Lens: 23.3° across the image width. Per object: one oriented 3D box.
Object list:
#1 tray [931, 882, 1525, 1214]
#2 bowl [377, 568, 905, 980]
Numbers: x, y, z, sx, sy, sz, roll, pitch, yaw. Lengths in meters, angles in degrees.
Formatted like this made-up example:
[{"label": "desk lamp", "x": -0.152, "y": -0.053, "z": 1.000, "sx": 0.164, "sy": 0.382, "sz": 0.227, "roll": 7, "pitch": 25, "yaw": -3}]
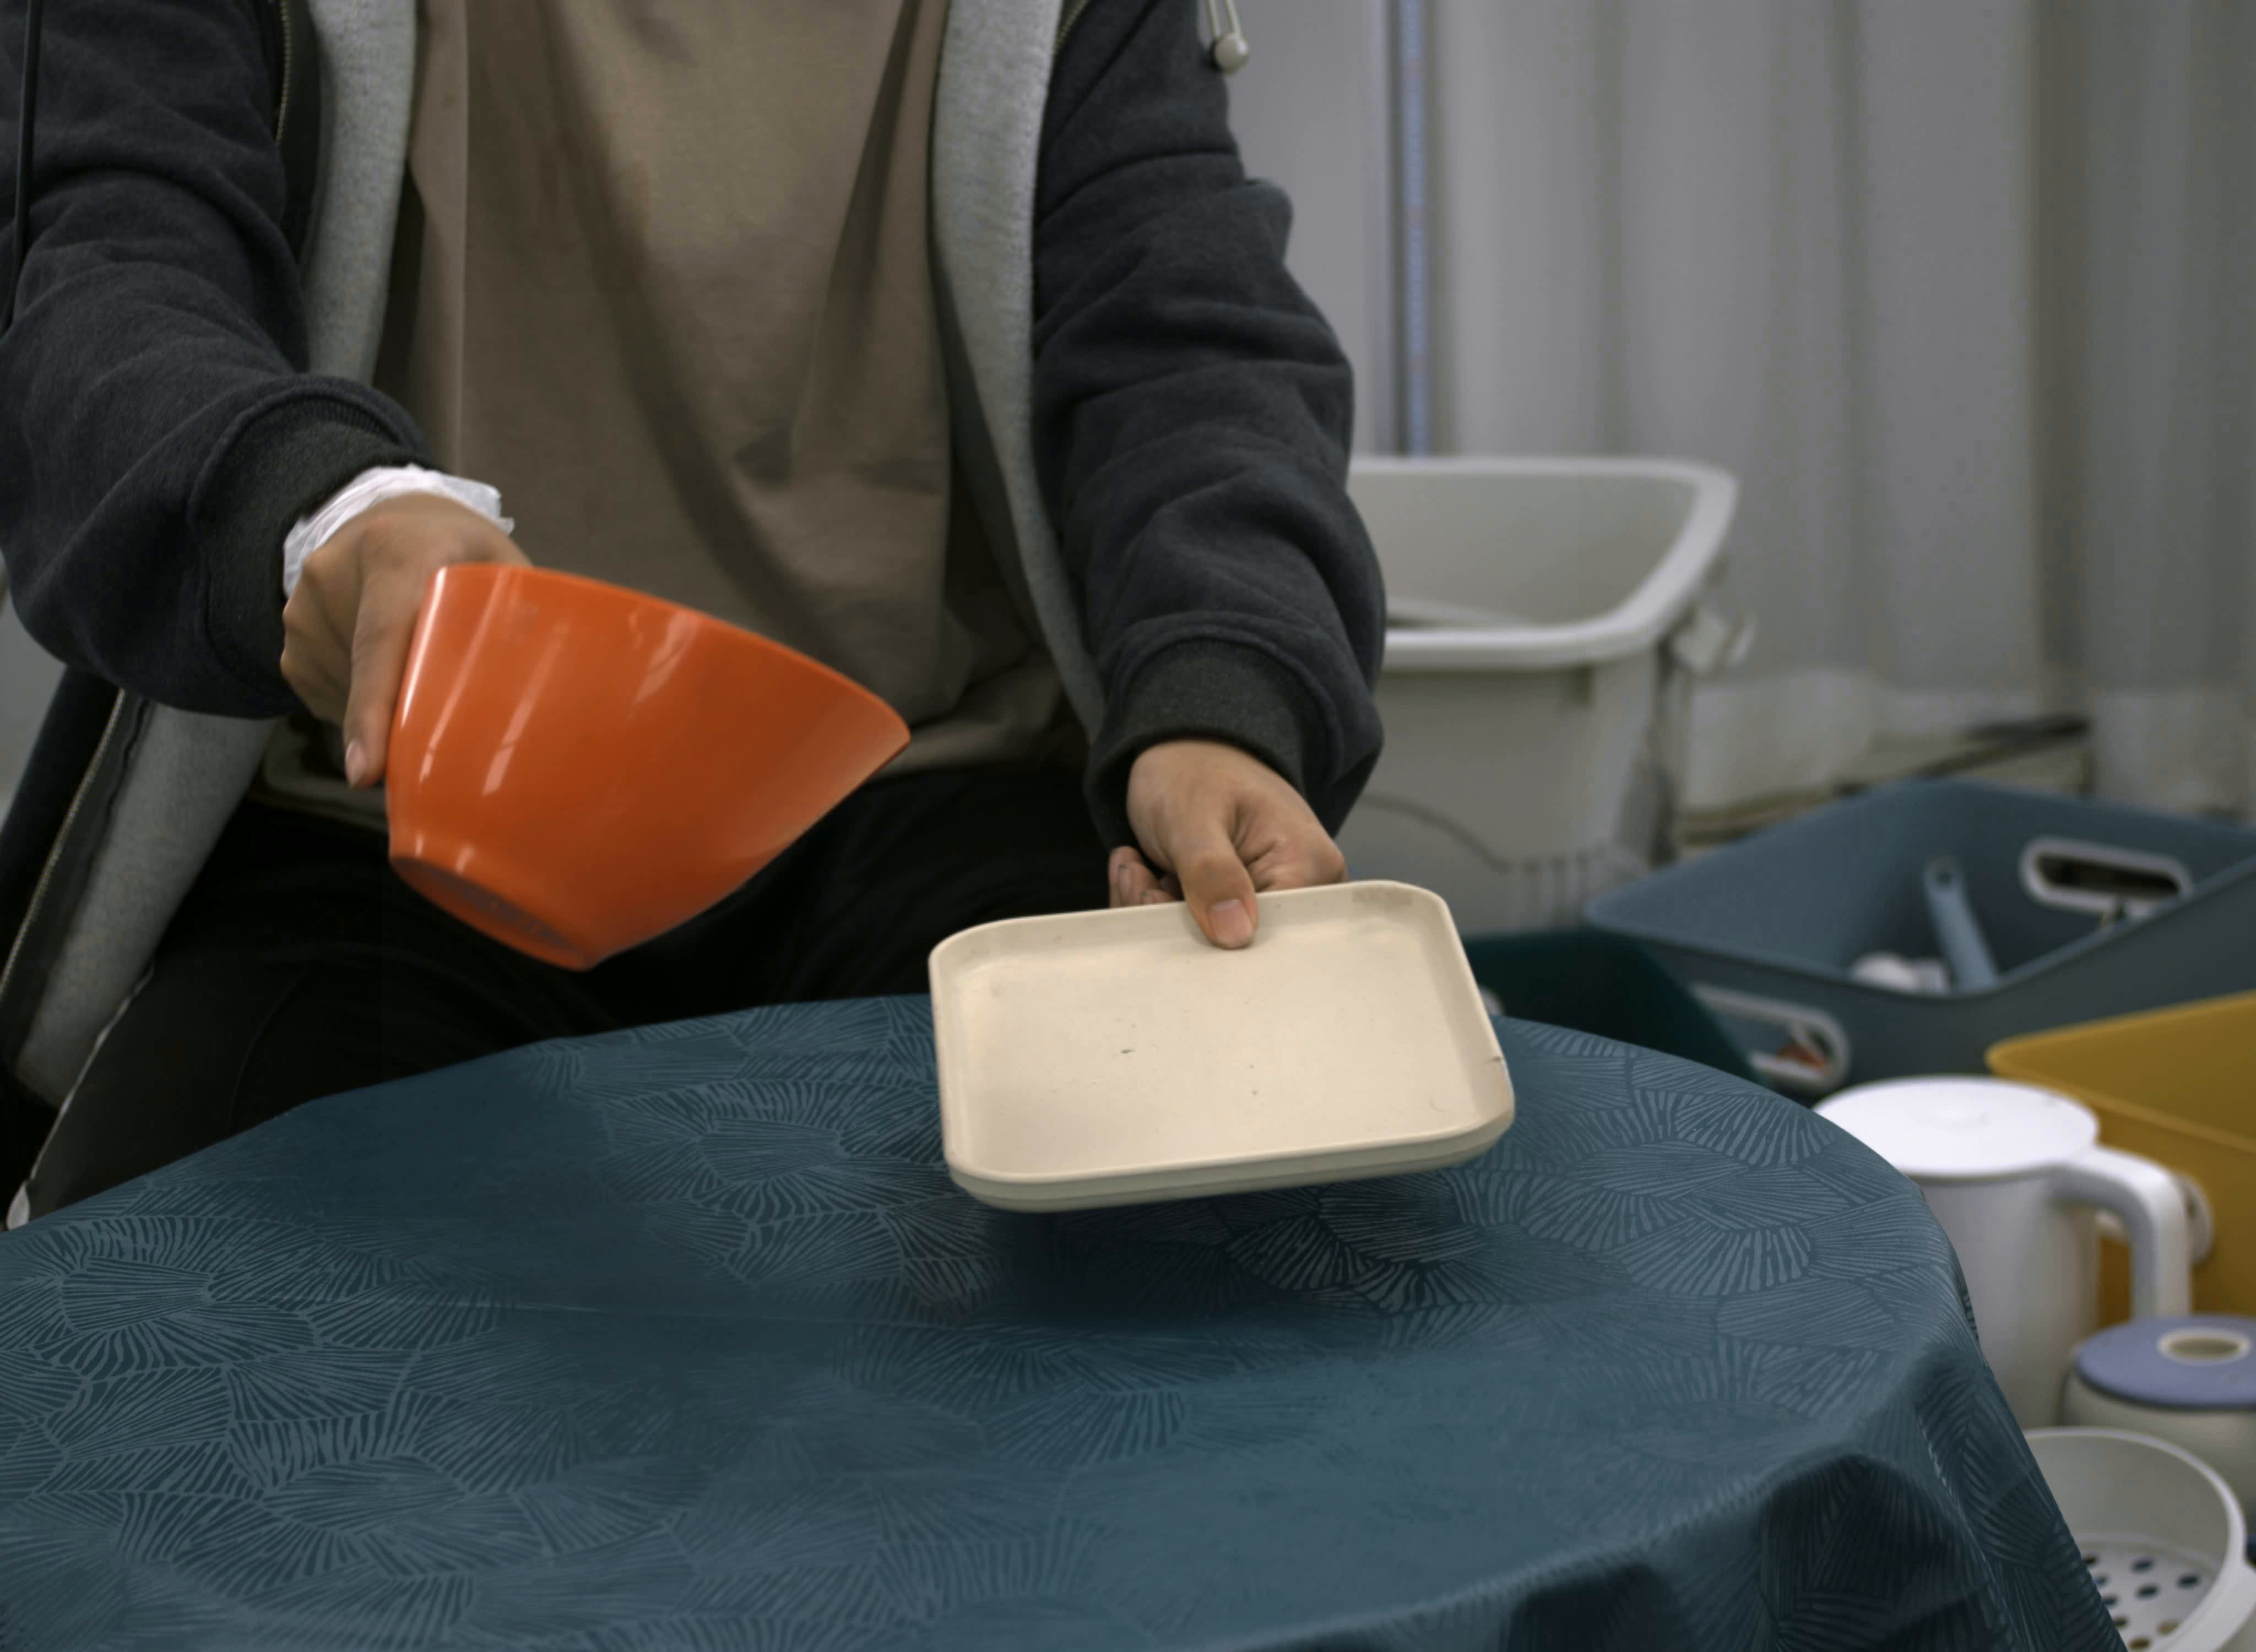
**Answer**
[{"label": "tray", "x": 0.027, "y": 0.067, "z": 1.688, "sx": 0.171, "sy": 0.017, "sz": 0.241, "roll": -6, "pitch": 17, "yaw": -2}, {"label": "bowl", "x": -0.154, "y": -0.010, "z": 1.598, "sx": 0.148, "sy": 0.105, "sz": 0.147, "roll": 26, "pitch": -14, "yaw": 7}]
